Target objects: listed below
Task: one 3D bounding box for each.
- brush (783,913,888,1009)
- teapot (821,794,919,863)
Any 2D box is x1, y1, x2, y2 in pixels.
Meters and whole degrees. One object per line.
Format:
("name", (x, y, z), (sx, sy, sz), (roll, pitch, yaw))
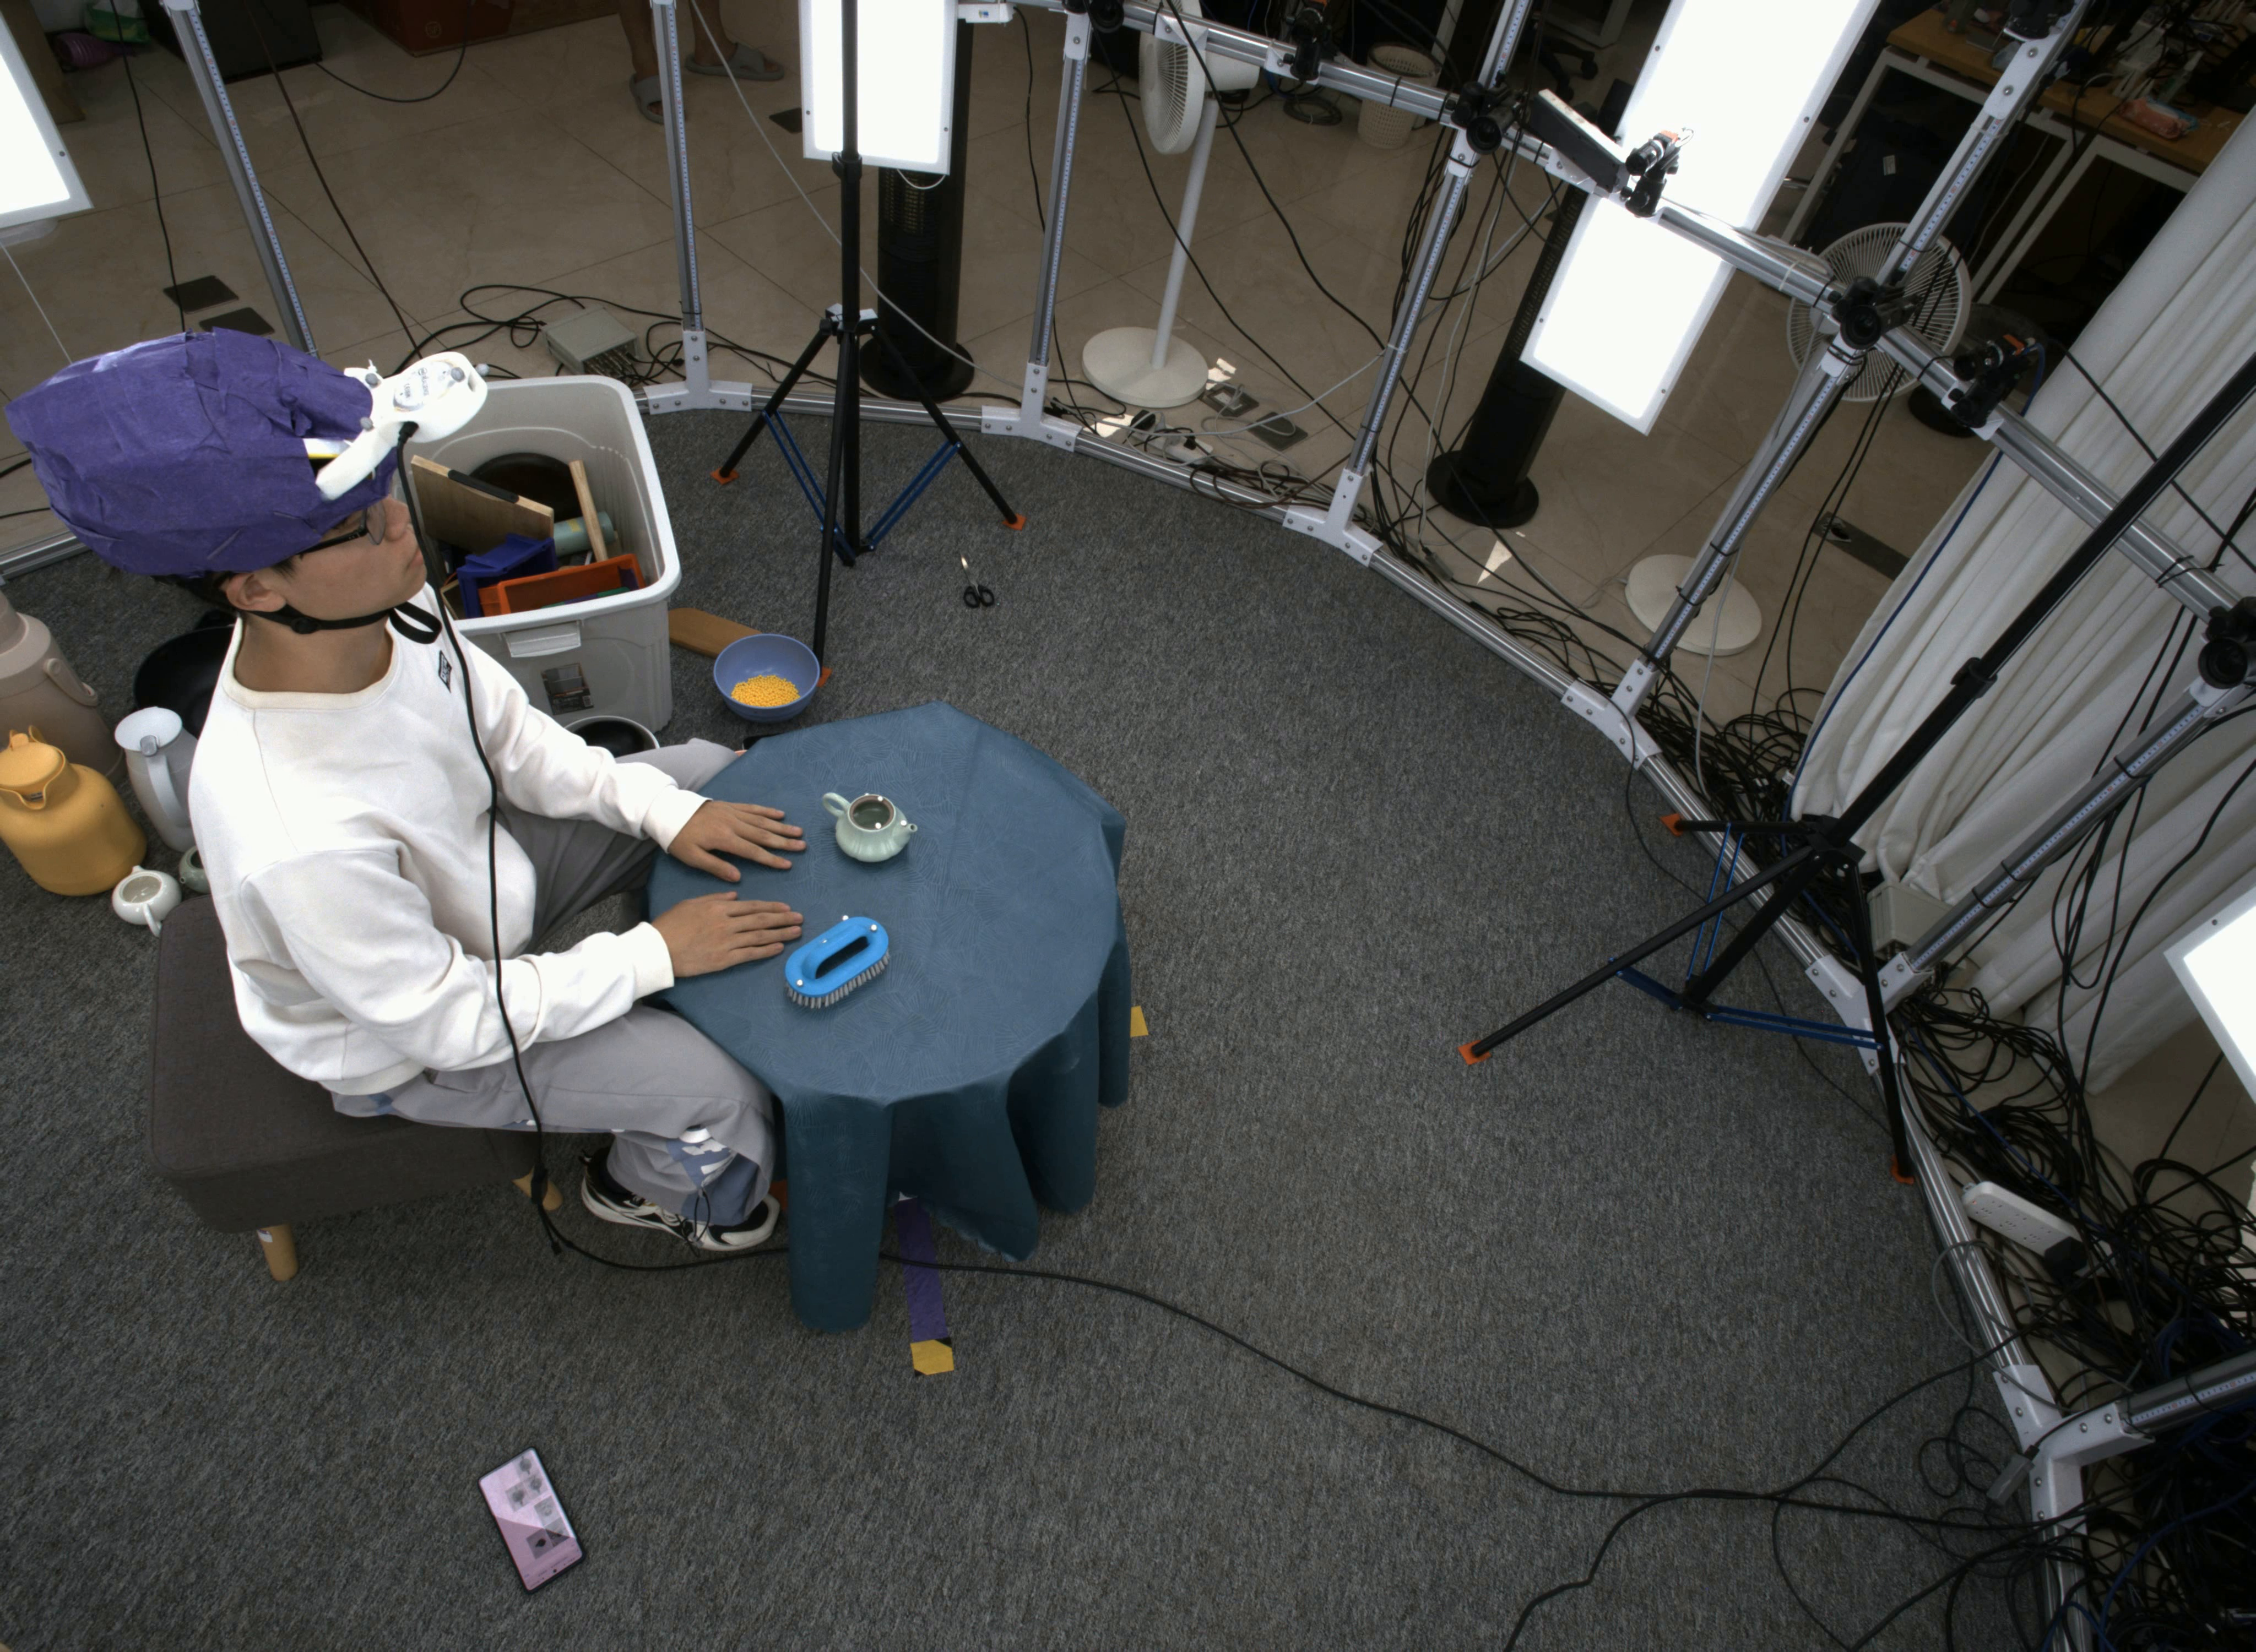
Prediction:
("brush", (-0.356, 0.157, 1.592), (0.142, 0.065, 0.083), (-34, 71, -30))
("teapot", (-0.341, -0.003, 1.719), (0.135, 0.062, 0.095), (19, 54, 2))
